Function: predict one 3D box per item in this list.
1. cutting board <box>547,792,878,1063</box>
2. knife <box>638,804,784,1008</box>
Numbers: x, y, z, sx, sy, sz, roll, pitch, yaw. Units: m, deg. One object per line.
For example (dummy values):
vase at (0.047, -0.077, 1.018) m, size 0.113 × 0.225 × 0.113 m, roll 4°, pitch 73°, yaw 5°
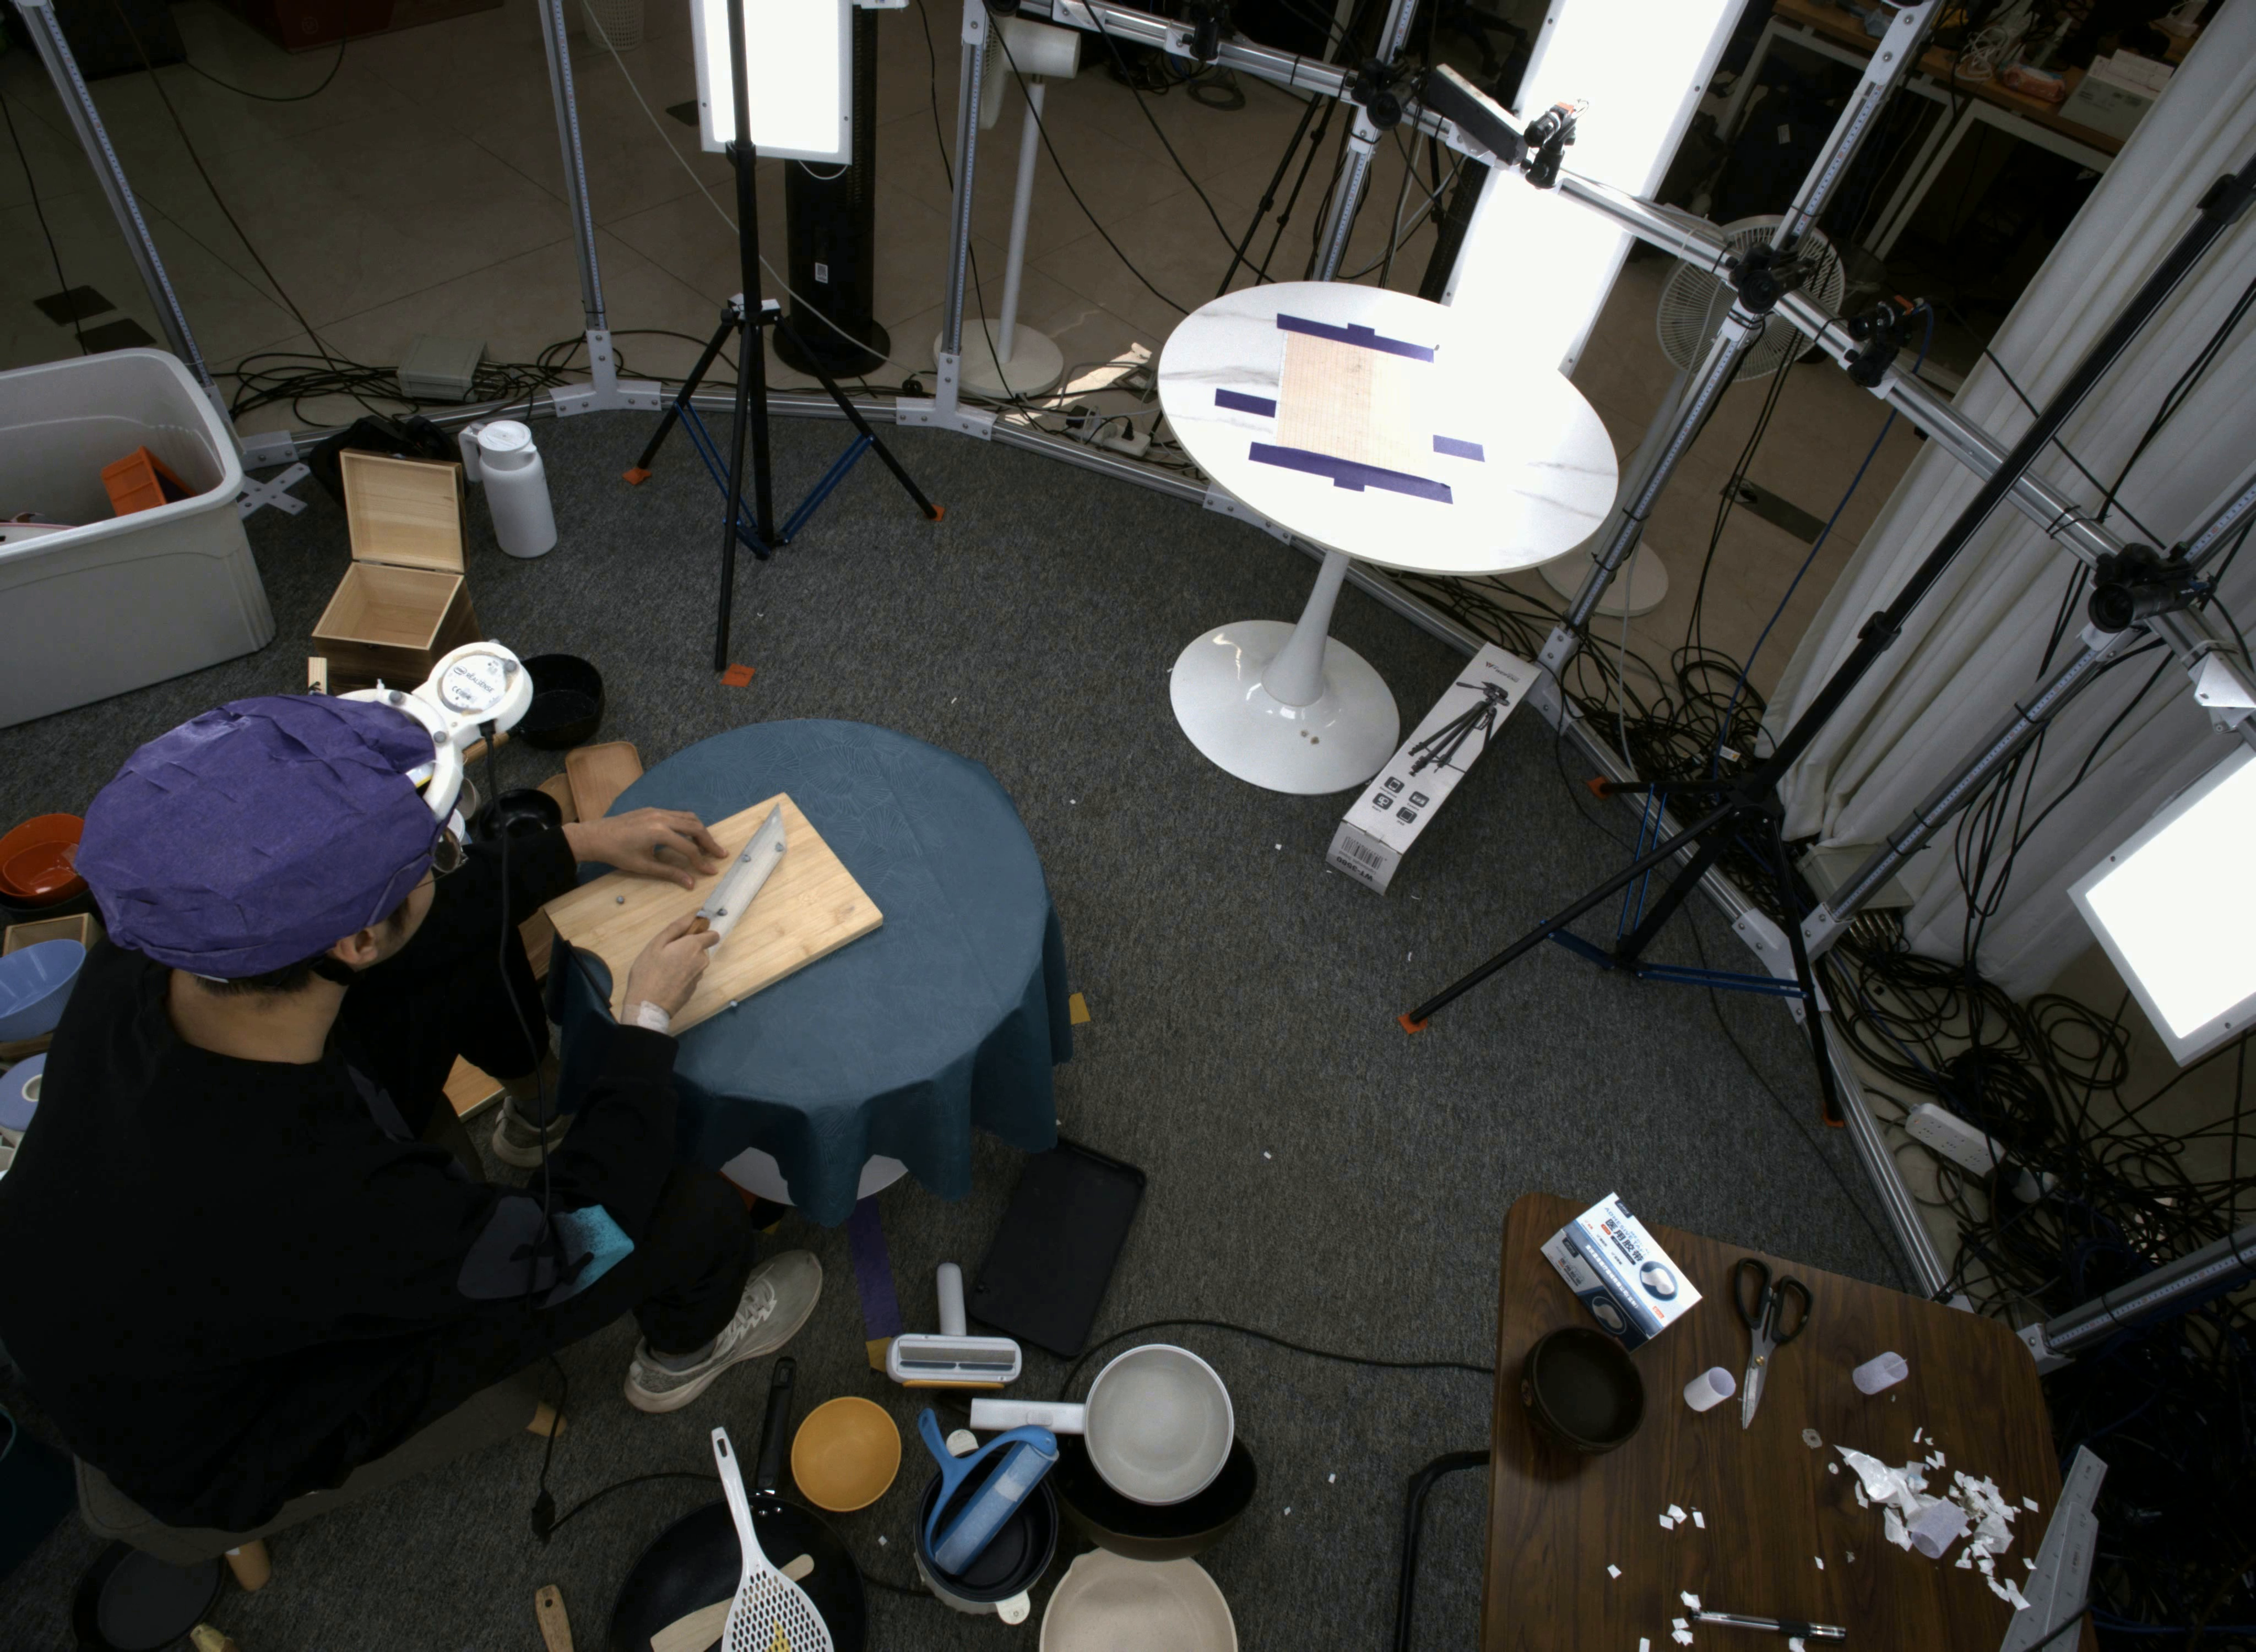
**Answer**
cutting board at (-0.516, 0.112, 1.594) m, size 0.350 × 0.024 × 0.245 m, roll -31°, pitch 67°, yaw -32°
knife at (-0.486, 0.102, 1.531) m, size 0.020 × 0.095 × 0.303 m, roll 17°, pitch 49°, yaw 10°
